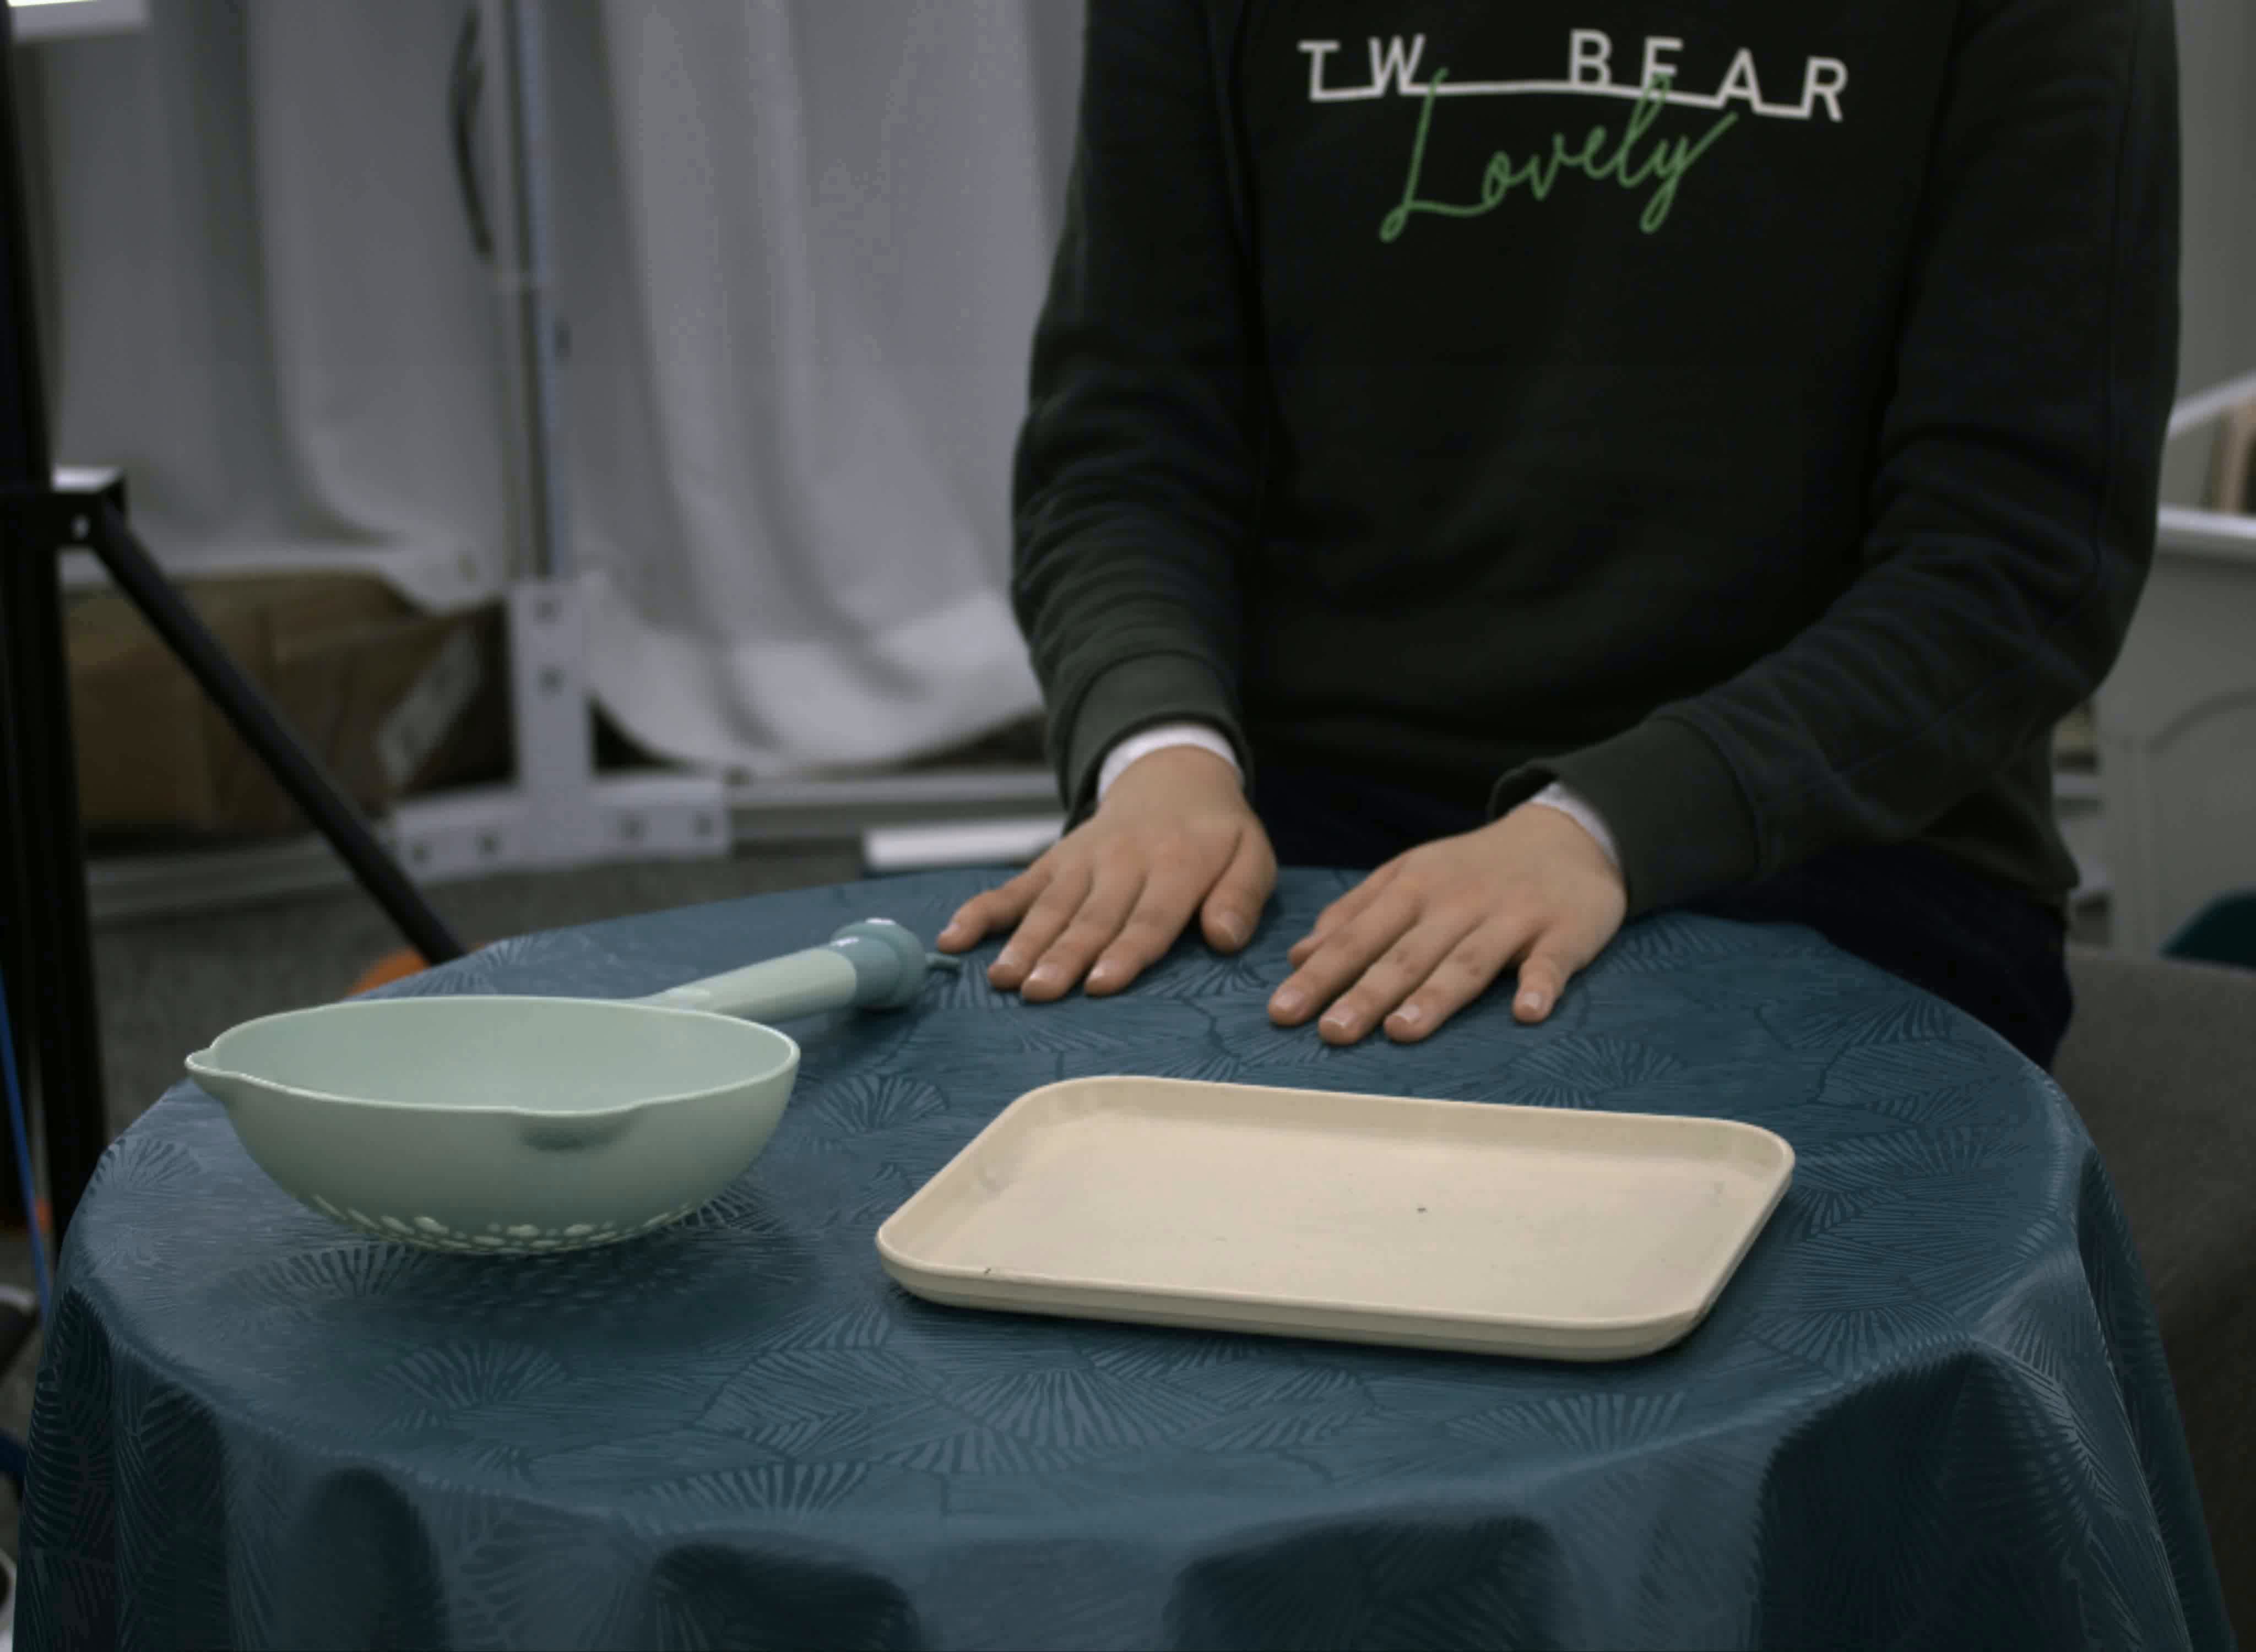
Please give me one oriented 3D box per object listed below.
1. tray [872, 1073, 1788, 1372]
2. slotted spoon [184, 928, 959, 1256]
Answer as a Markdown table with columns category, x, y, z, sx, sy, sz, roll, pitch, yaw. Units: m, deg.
| category | x | y | z | sx | sy | sz | roll | pitch | yaw |
| --- | --- | --- | --- | --- | --- | --- | --- | --- | --- |
| tray | 0.059 | 0.112 | 1.505 | 0.242 | 0.017 | 0.169 | 4 | 17 | 20 |
| slotted spoon | -0.138 | 0.065 | 1.618 | 0.172 | 0.075 | 0.353 | 6 | 17 | 25 |
